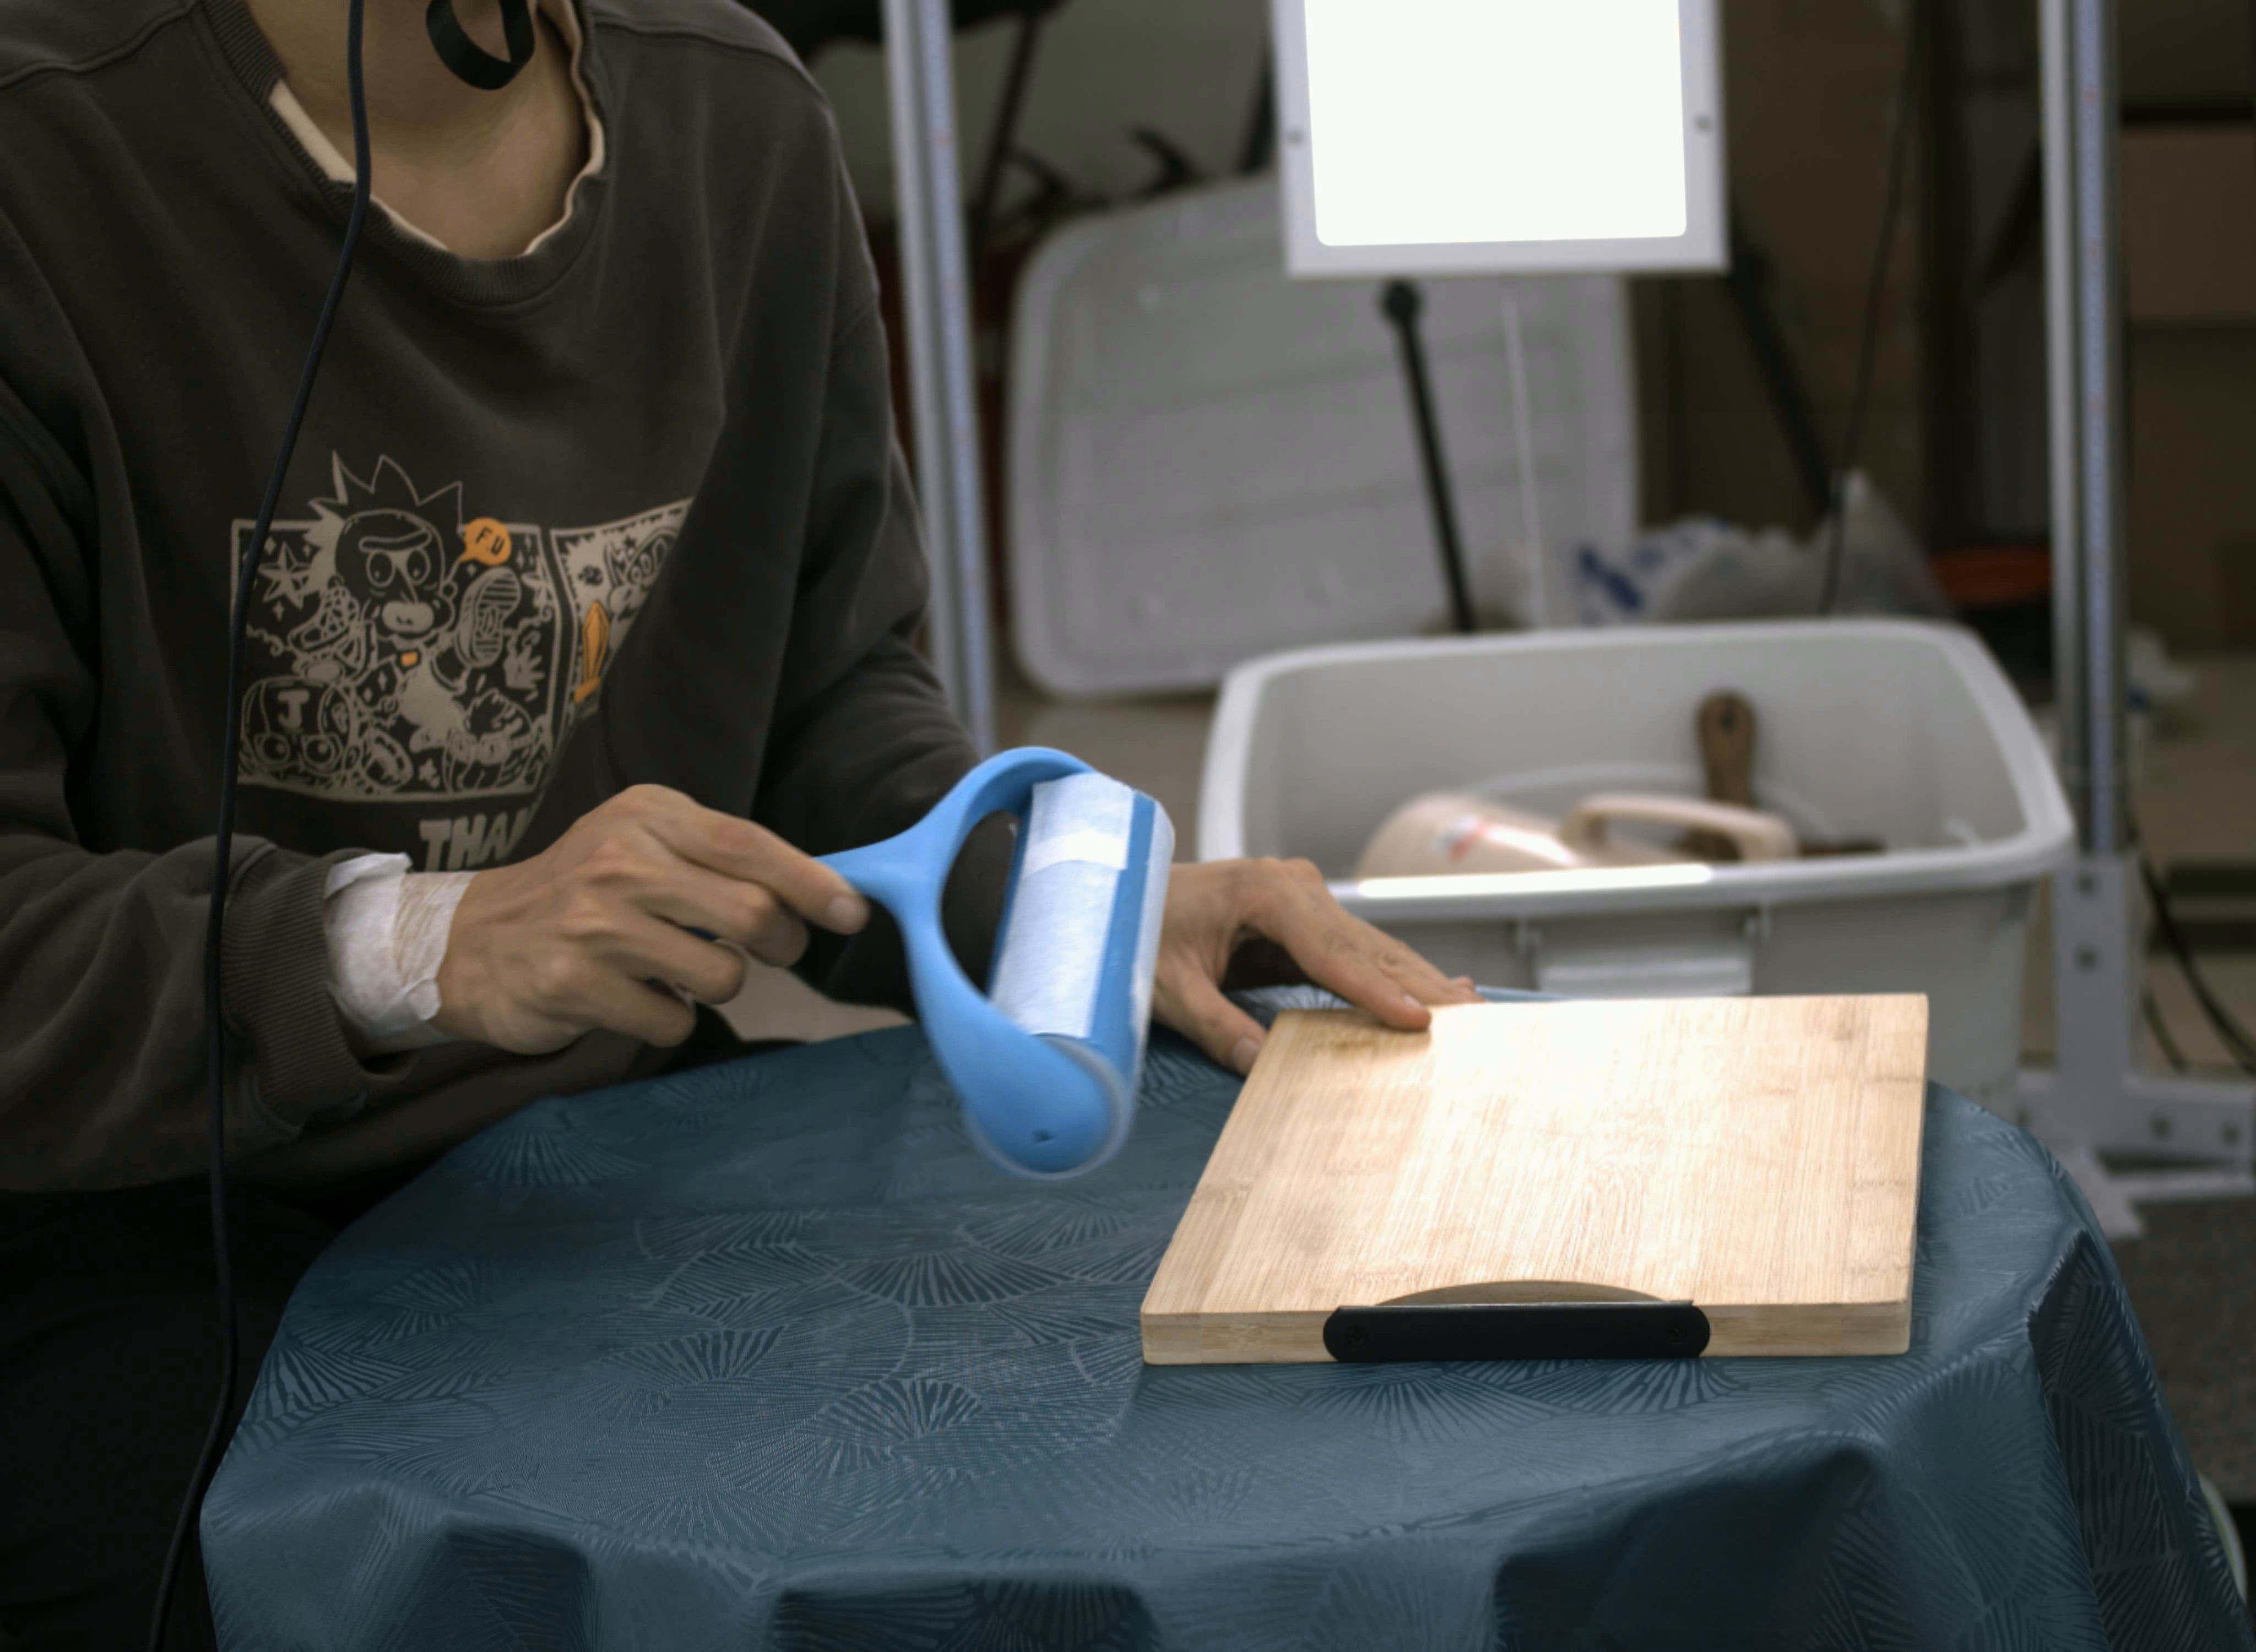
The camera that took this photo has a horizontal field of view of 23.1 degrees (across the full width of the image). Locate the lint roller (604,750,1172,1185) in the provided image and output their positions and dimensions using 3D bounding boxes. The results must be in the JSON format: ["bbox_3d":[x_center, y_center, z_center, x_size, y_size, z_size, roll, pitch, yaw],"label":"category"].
[{"bbox_3d":[-0.079,0.039,1.784,0.180,0.068,0.227,7,27,2],"label":"lint roller"}]

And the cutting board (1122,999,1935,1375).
[{"bbox_3d":[0.146,0.117,1.849,0.252,0.023,0.345,-3,14,10],"label":"cutting board"}]
